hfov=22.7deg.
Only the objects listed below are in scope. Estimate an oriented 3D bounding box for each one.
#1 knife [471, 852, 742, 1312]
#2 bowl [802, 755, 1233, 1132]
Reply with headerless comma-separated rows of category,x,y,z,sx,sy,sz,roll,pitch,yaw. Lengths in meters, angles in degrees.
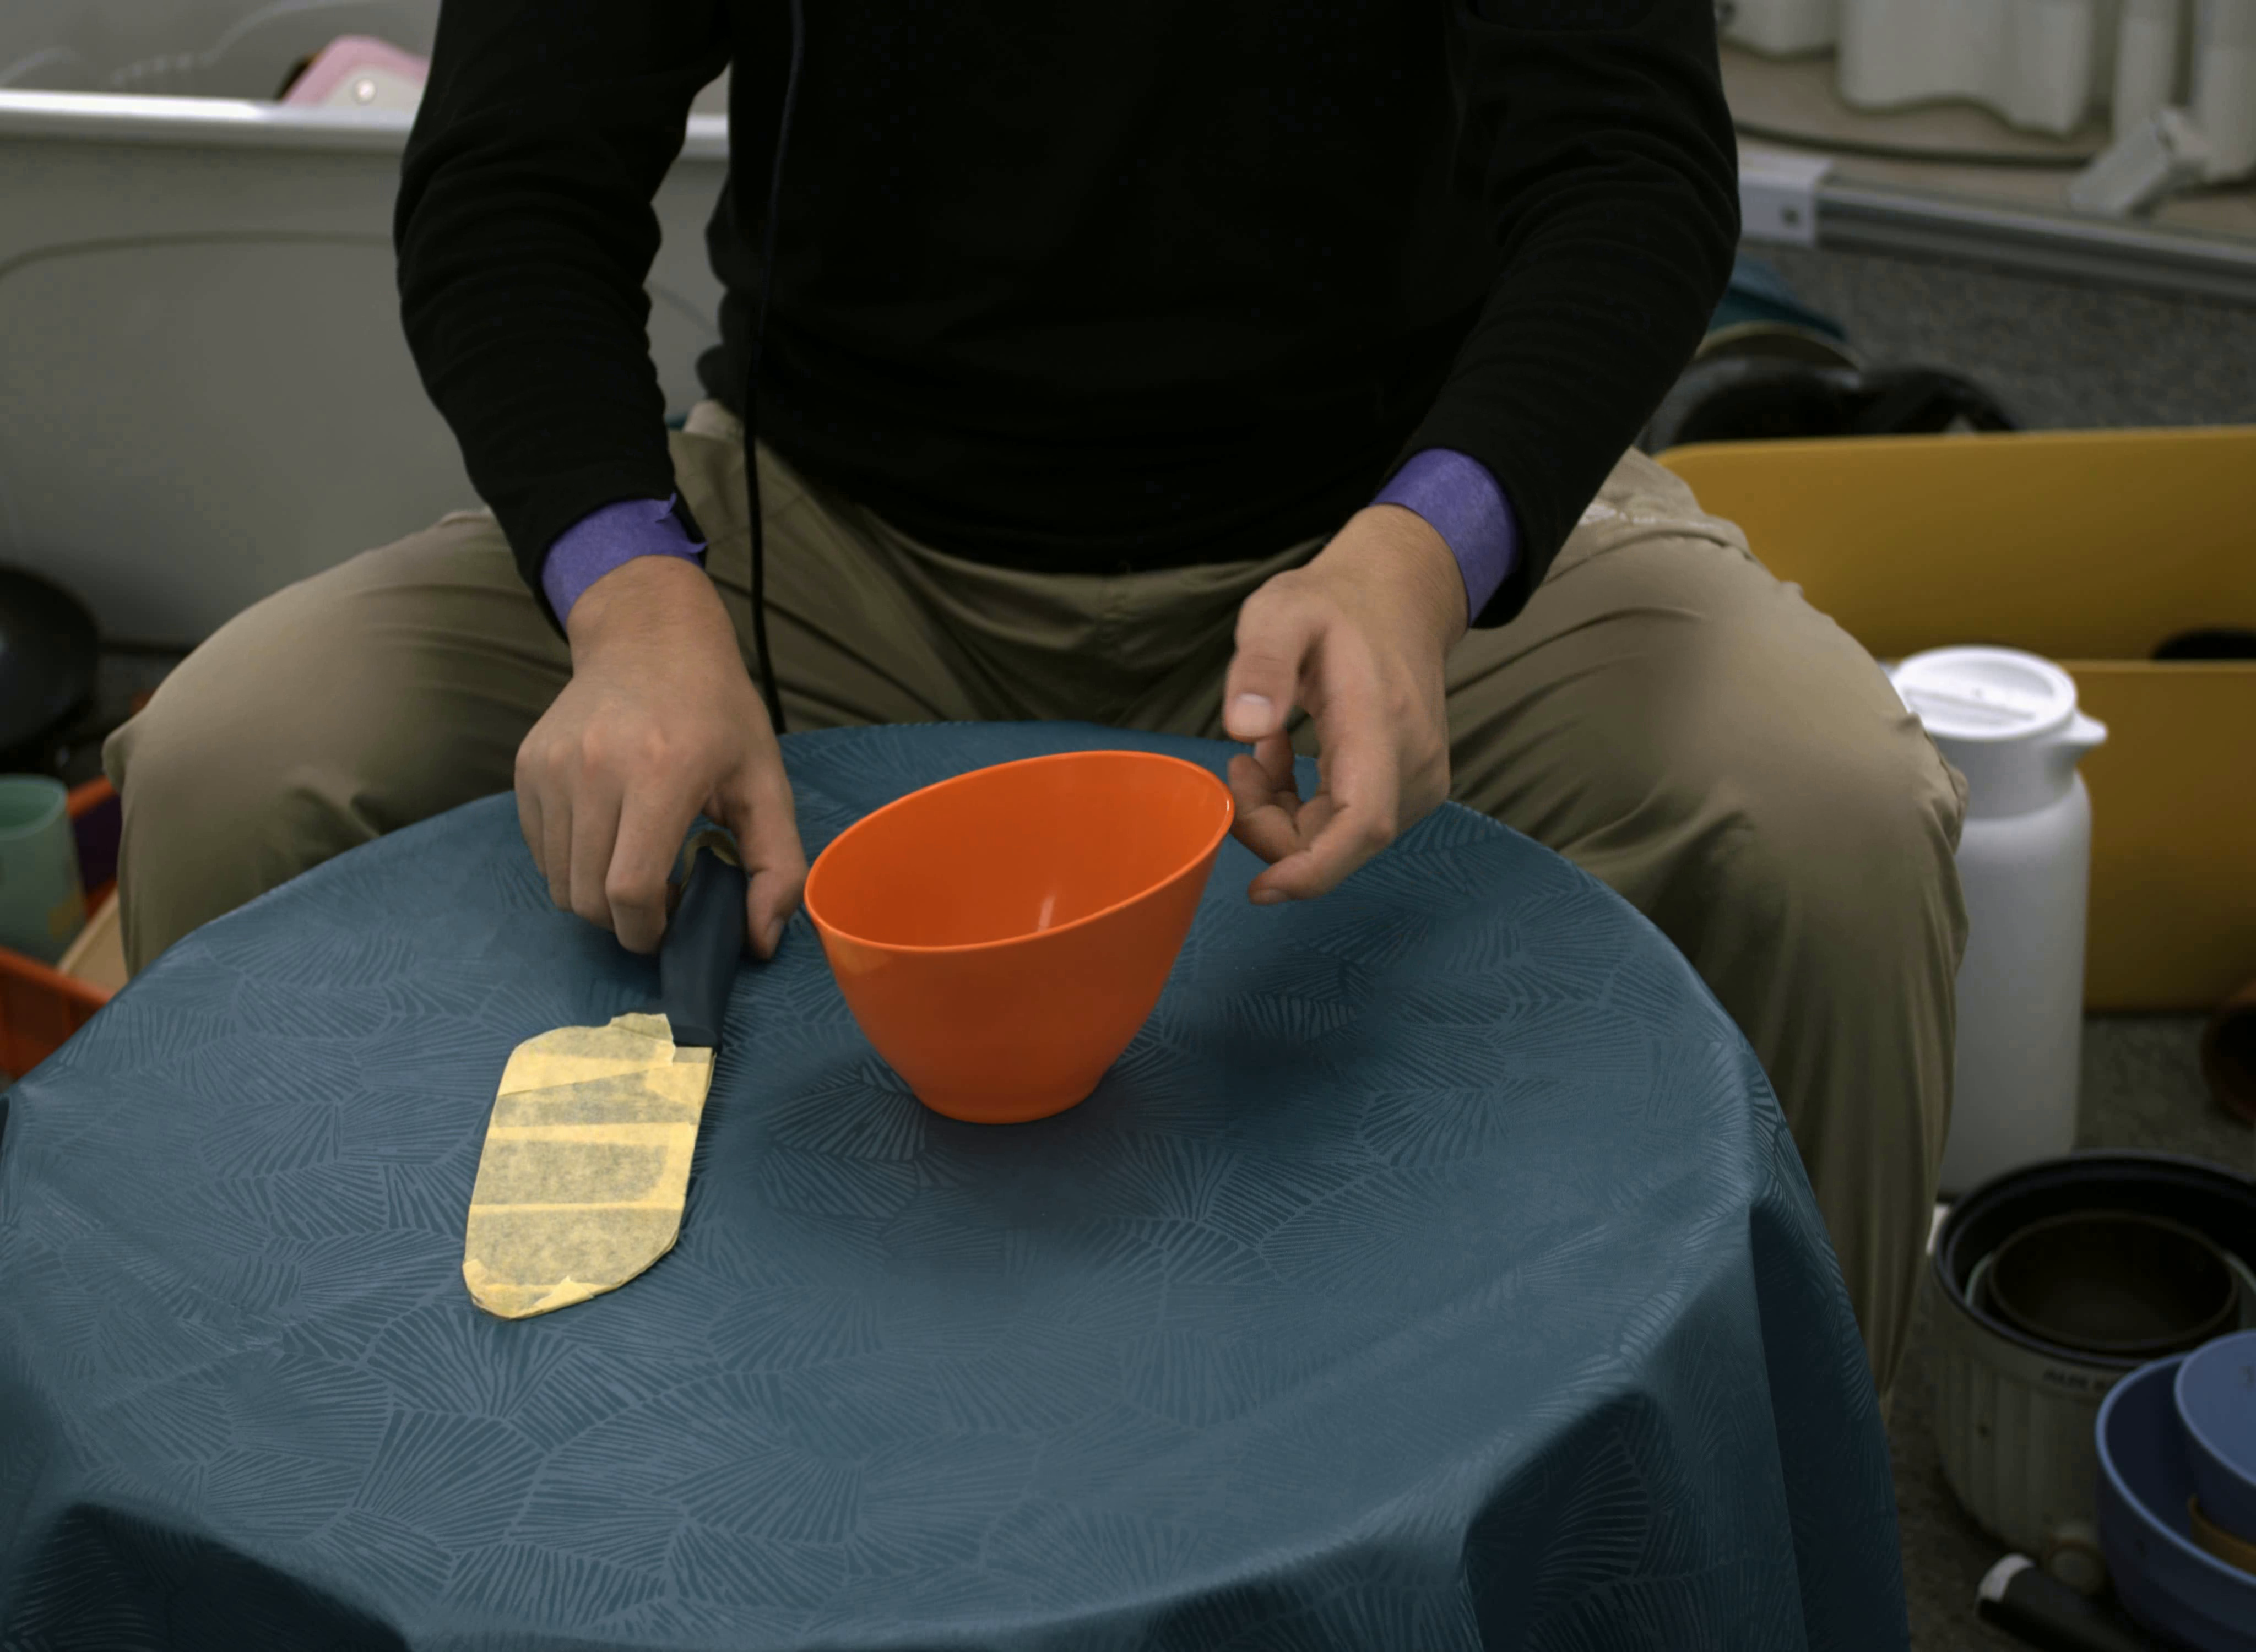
knife,-0.176,0.086,1.929,0.080,0.027,0.294,3,29,5
bowl,-0.035,0.045,1.903,0.147,0.103,0.150,-3,27,2
